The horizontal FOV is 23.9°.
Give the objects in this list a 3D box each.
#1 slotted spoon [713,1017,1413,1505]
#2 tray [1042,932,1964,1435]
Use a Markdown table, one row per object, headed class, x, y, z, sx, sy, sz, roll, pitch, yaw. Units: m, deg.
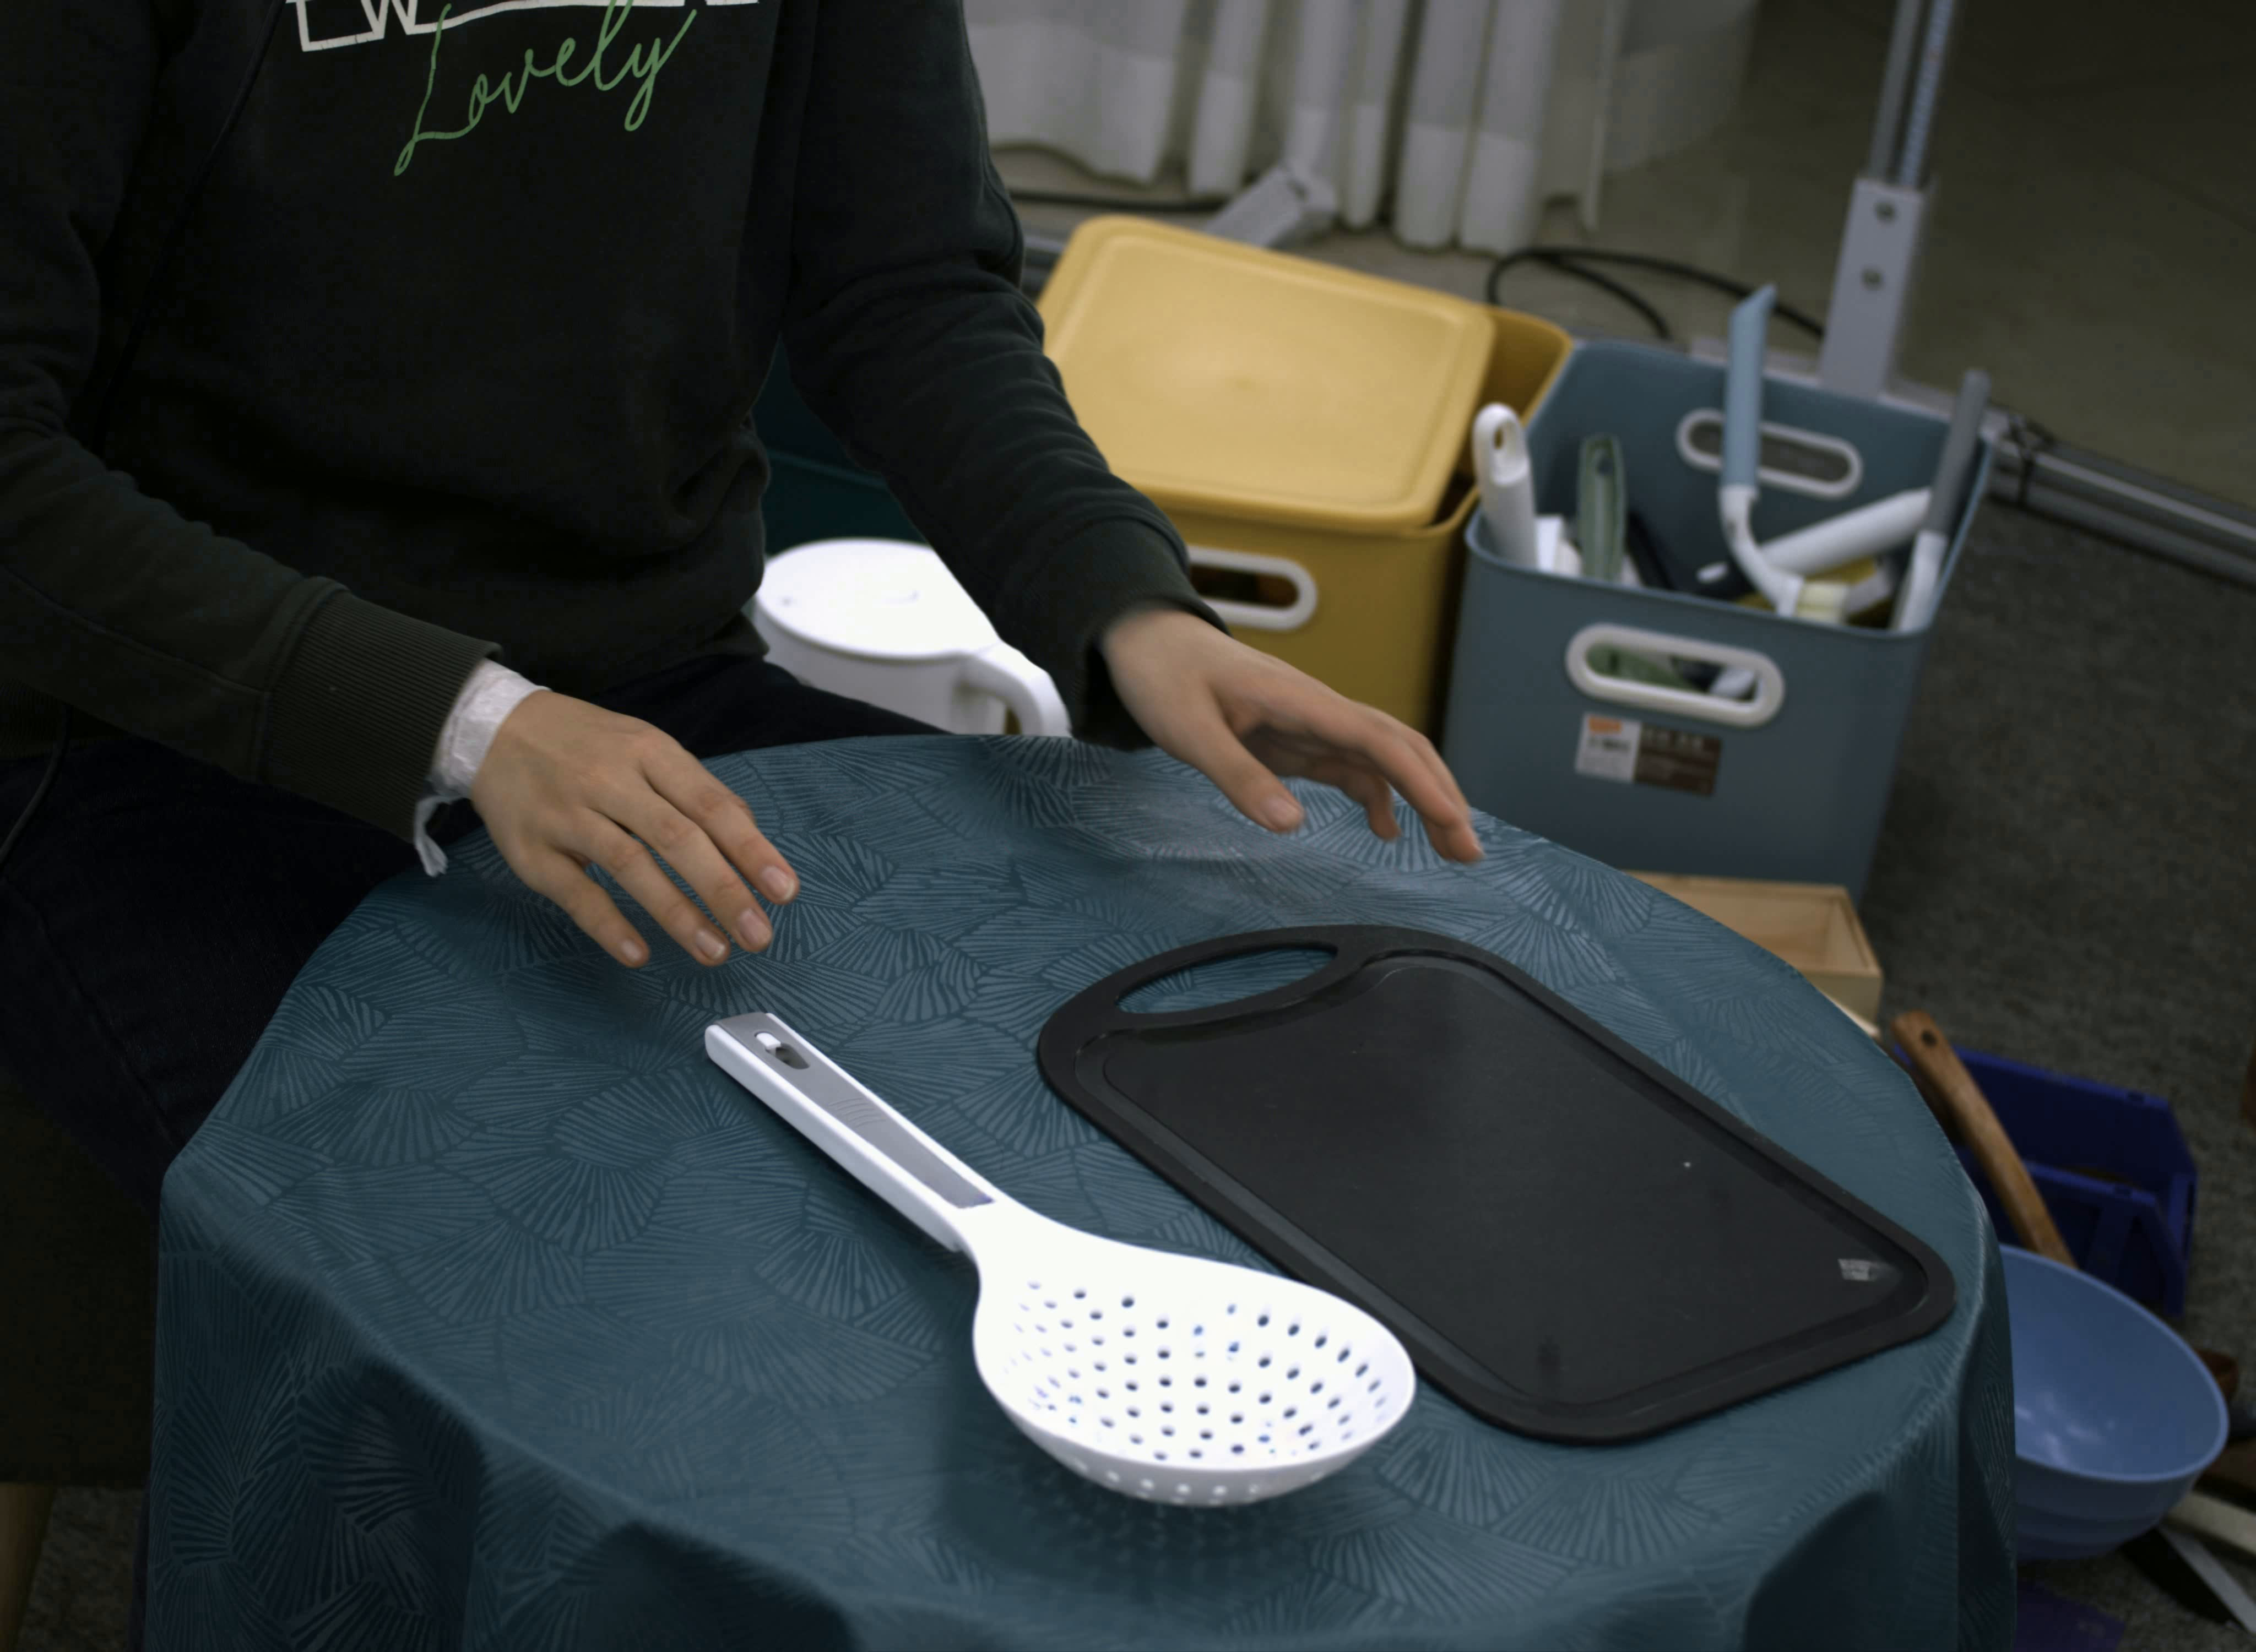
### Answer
| class | x | y | z | sx | sy | sz | roll | pitch | yaw |
| --- | --- | --- | --- | --- | --- | --- | --- | --- | --- |
| slotted spoon | -0.040 | 0.134 | 1.720 | 0.135 | 0.045 | 0.353 | -9 | 30 | -32 |
| tray | 0.120 | 0.114 | 1.840 | 0.210 | 0.010 | 0.328 | -13 | 32 | -35 |
